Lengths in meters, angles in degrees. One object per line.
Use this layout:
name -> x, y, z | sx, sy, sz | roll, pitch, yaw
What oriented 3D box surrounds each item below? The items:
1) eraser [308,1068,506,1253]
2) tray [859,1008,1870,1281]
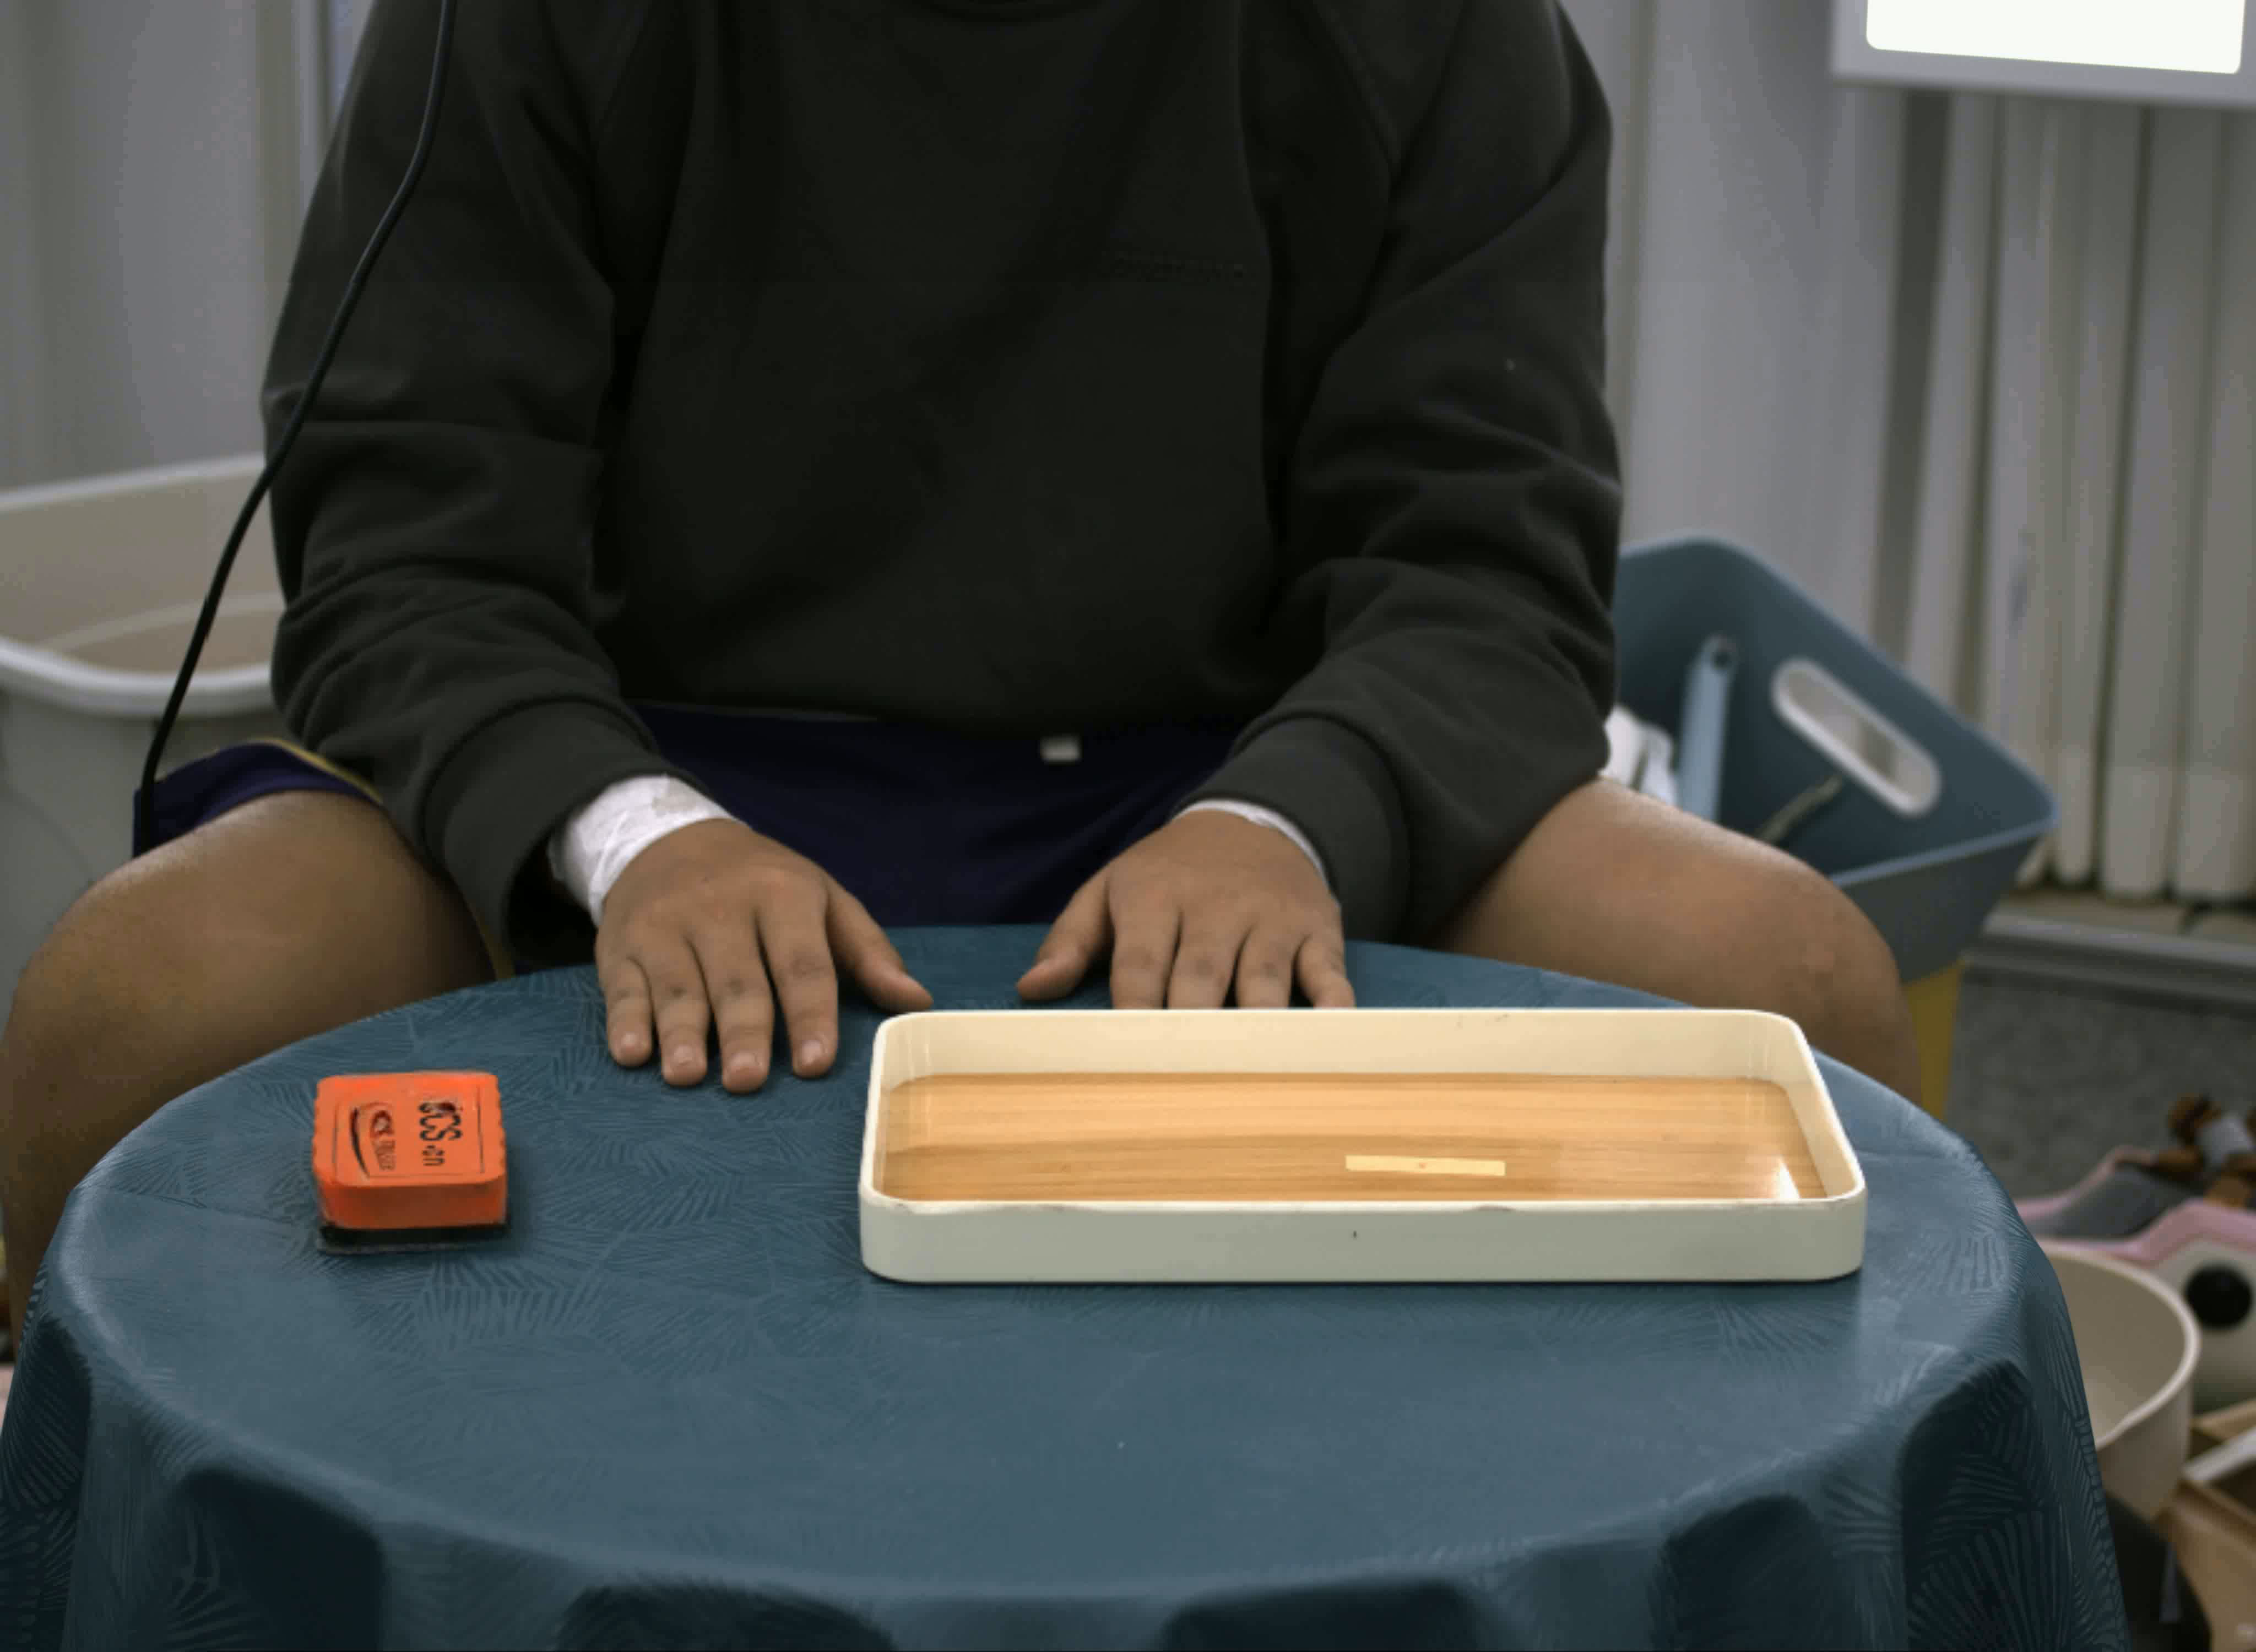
eraser -> -0.220, 0.101, 1.608 | 0.059, 0.023, 0.107 | -3, 15, -7
tray -> 0.069, 0.097, 1.629 | 0.299, 0.027, 0.190 | 0, 16, -1
